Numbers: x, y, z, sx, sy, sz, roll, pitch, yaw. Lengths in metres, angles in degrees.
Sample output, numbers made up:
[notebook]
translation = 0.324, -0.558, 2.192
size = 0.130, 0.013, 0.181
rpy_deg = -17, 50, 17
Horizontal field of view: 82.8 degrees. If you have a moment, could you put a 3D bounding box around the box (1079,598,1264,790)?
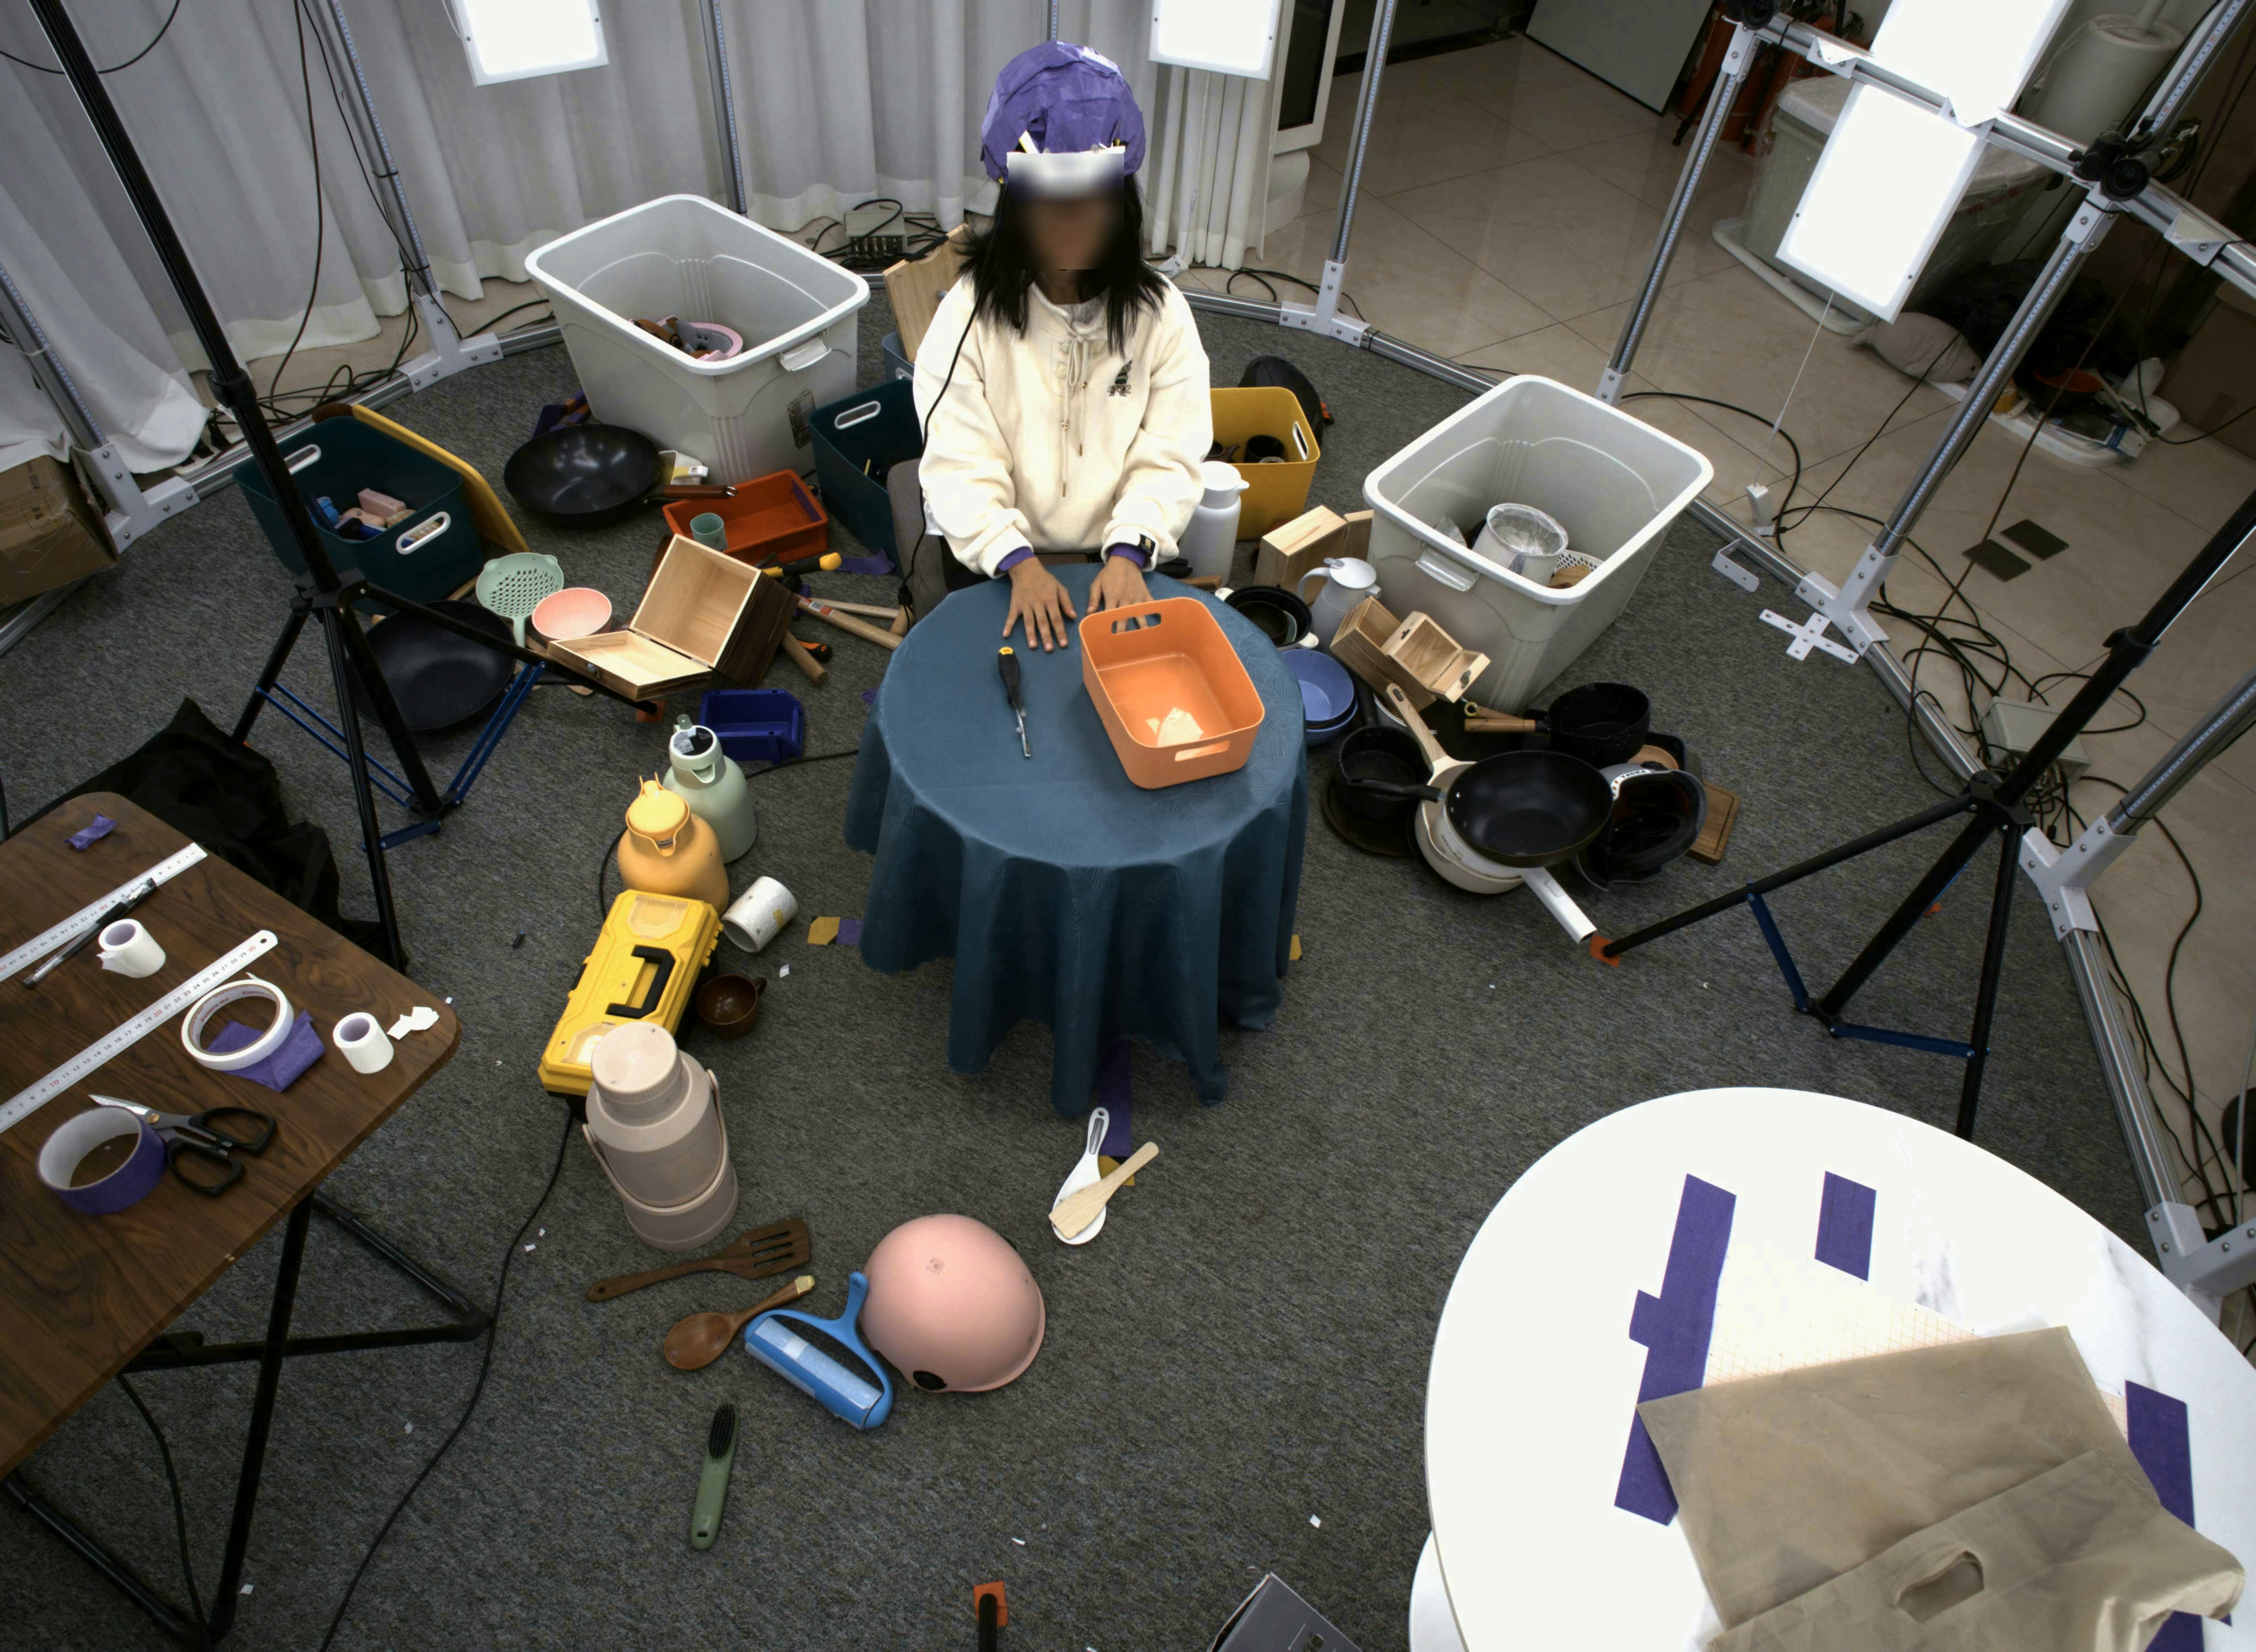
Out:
[box]
translation = 0.054, -0.181, 1.764
size = 0.199, 0.100, 0.280
rpy_deg = -13, 52, -14

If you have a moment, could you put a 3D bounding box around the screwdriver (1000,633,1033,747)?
[screwdriver]
translation = -0.149, -0.190, 1.795
size = 0.031, 0.031, 0.202
rpy_deg = -9, 59, -13
